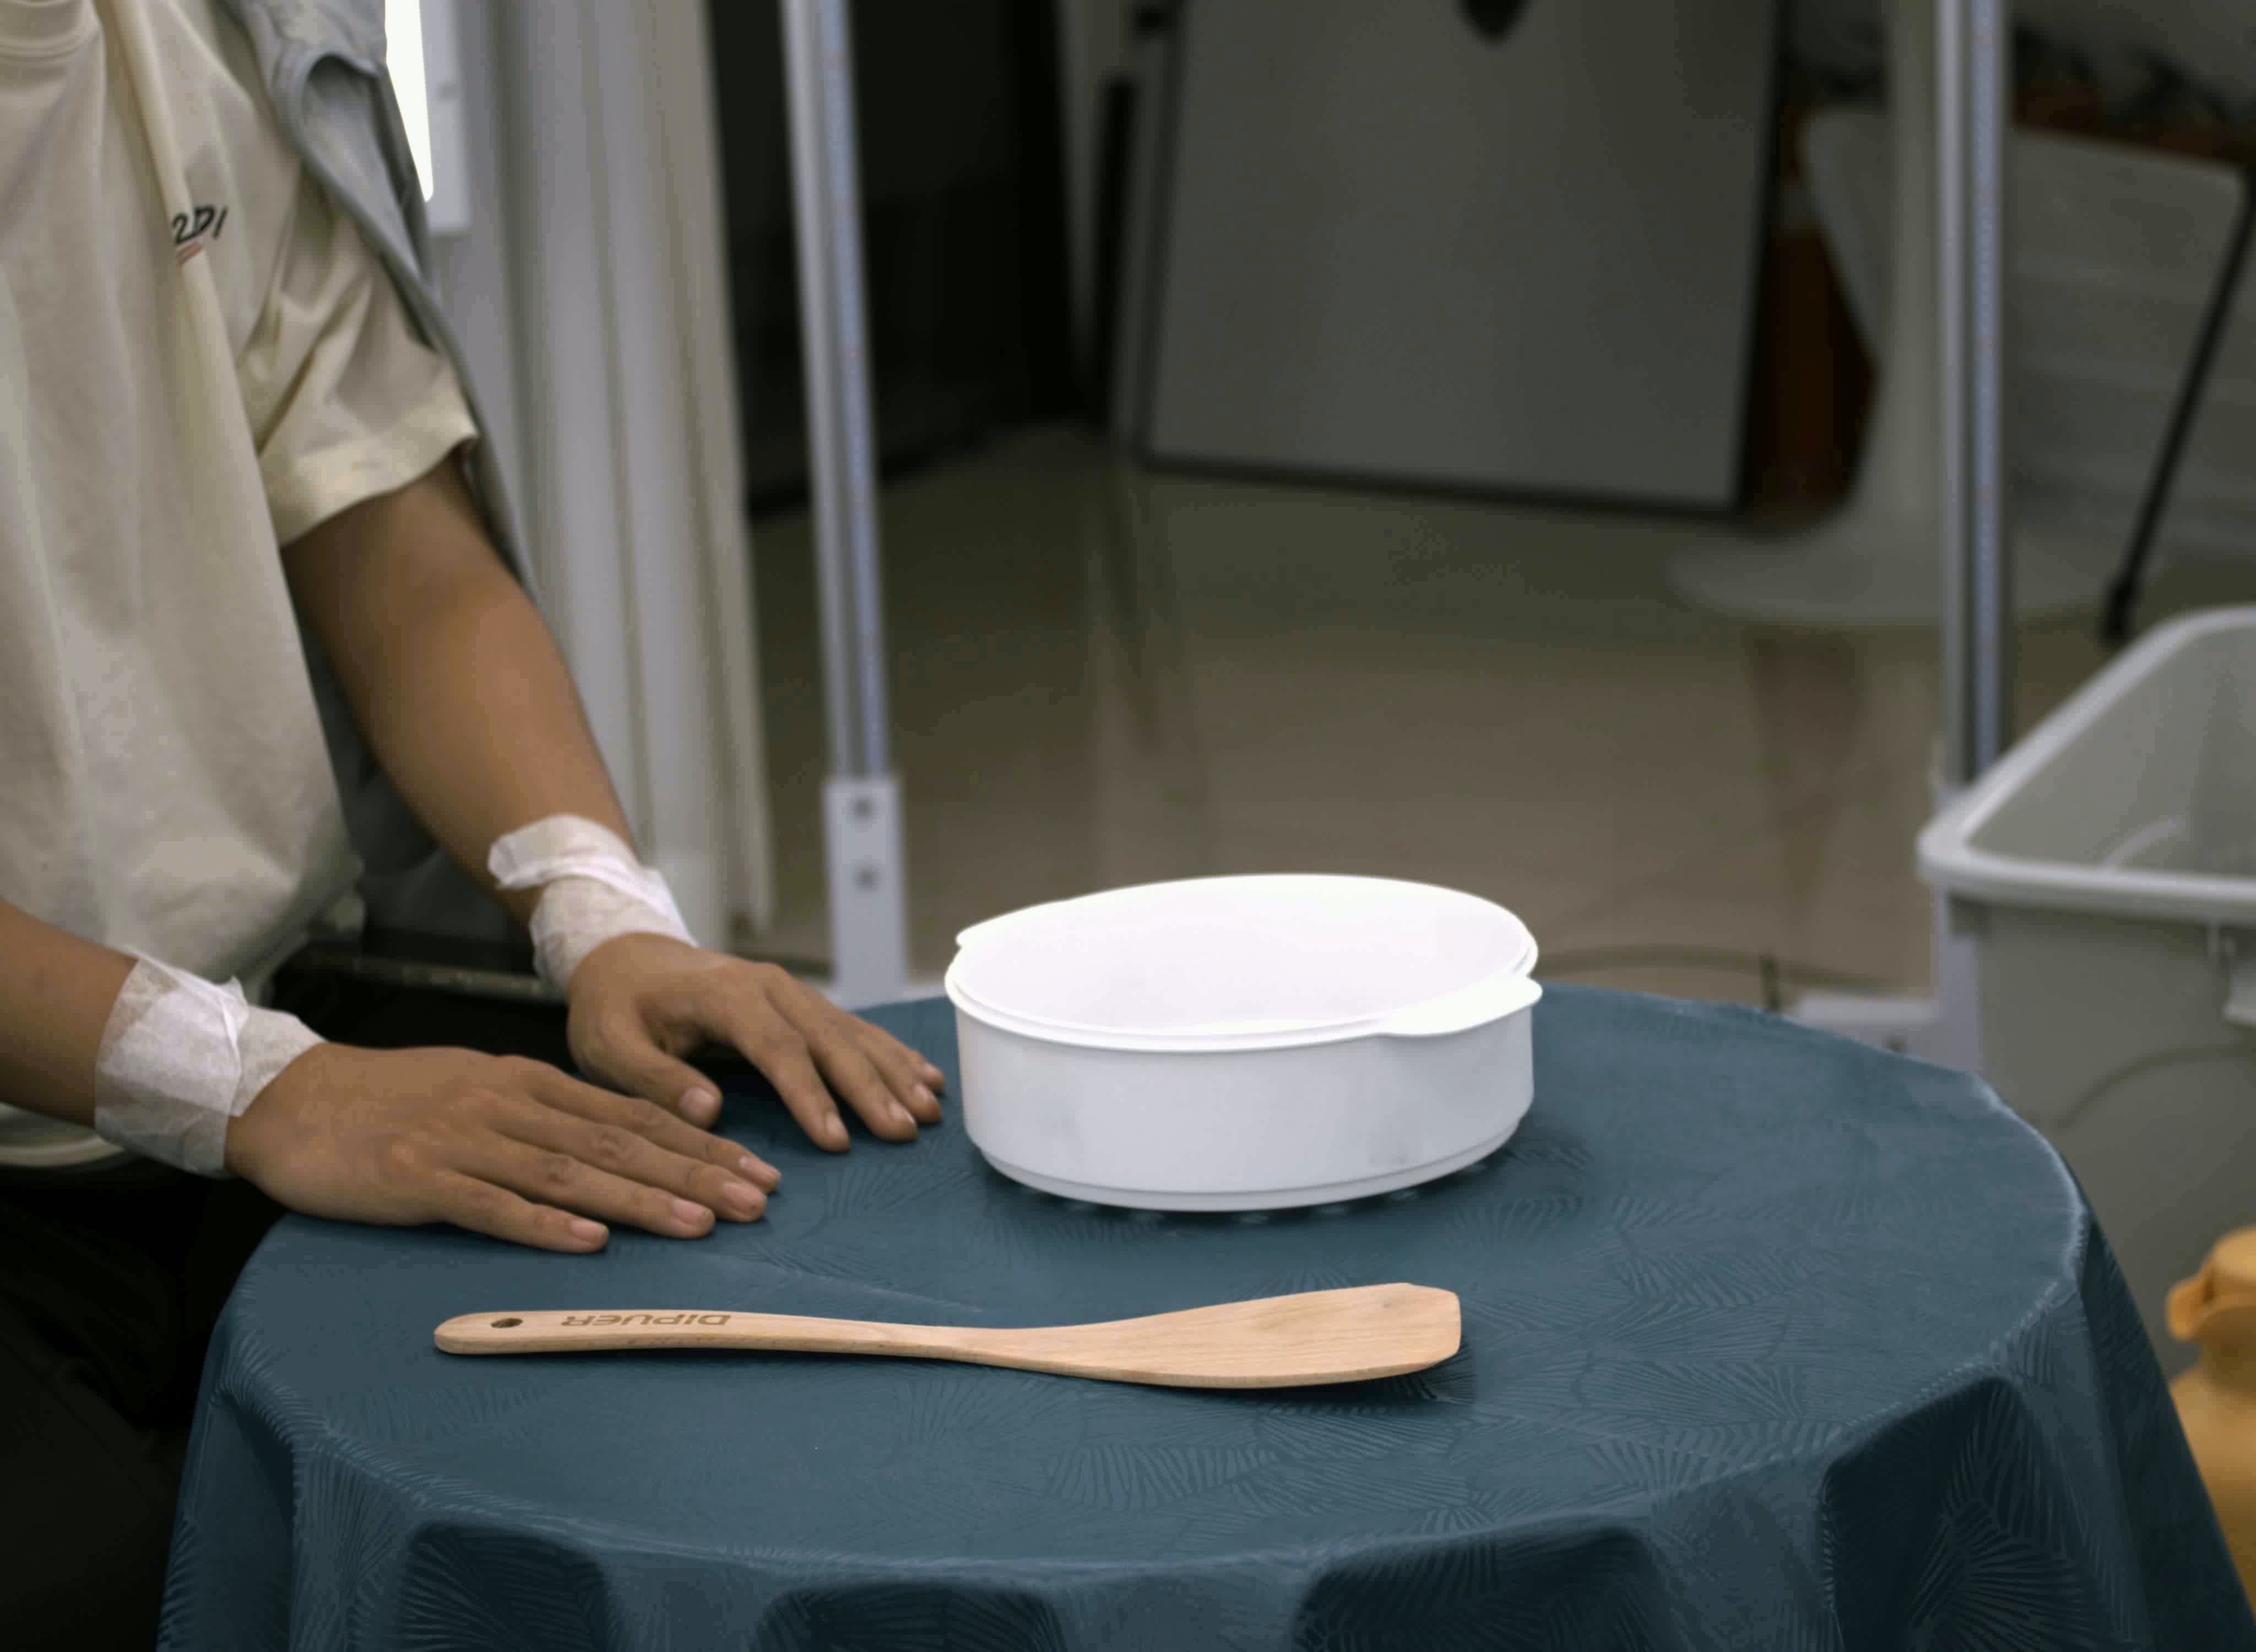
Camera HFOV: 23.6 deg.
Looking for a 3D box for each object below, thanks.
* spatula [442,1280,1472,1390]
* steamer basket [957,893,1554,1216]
[{"bbox_3d":[-0.052,0.153,1.626,0.326,0.017,0.079,-1,13,14],"label":"spatula"},{"bbox_3d":[0.043,0.076,1.809,0.233,0.070,0.198,8,17,44],"label":"steamer basket"}]
